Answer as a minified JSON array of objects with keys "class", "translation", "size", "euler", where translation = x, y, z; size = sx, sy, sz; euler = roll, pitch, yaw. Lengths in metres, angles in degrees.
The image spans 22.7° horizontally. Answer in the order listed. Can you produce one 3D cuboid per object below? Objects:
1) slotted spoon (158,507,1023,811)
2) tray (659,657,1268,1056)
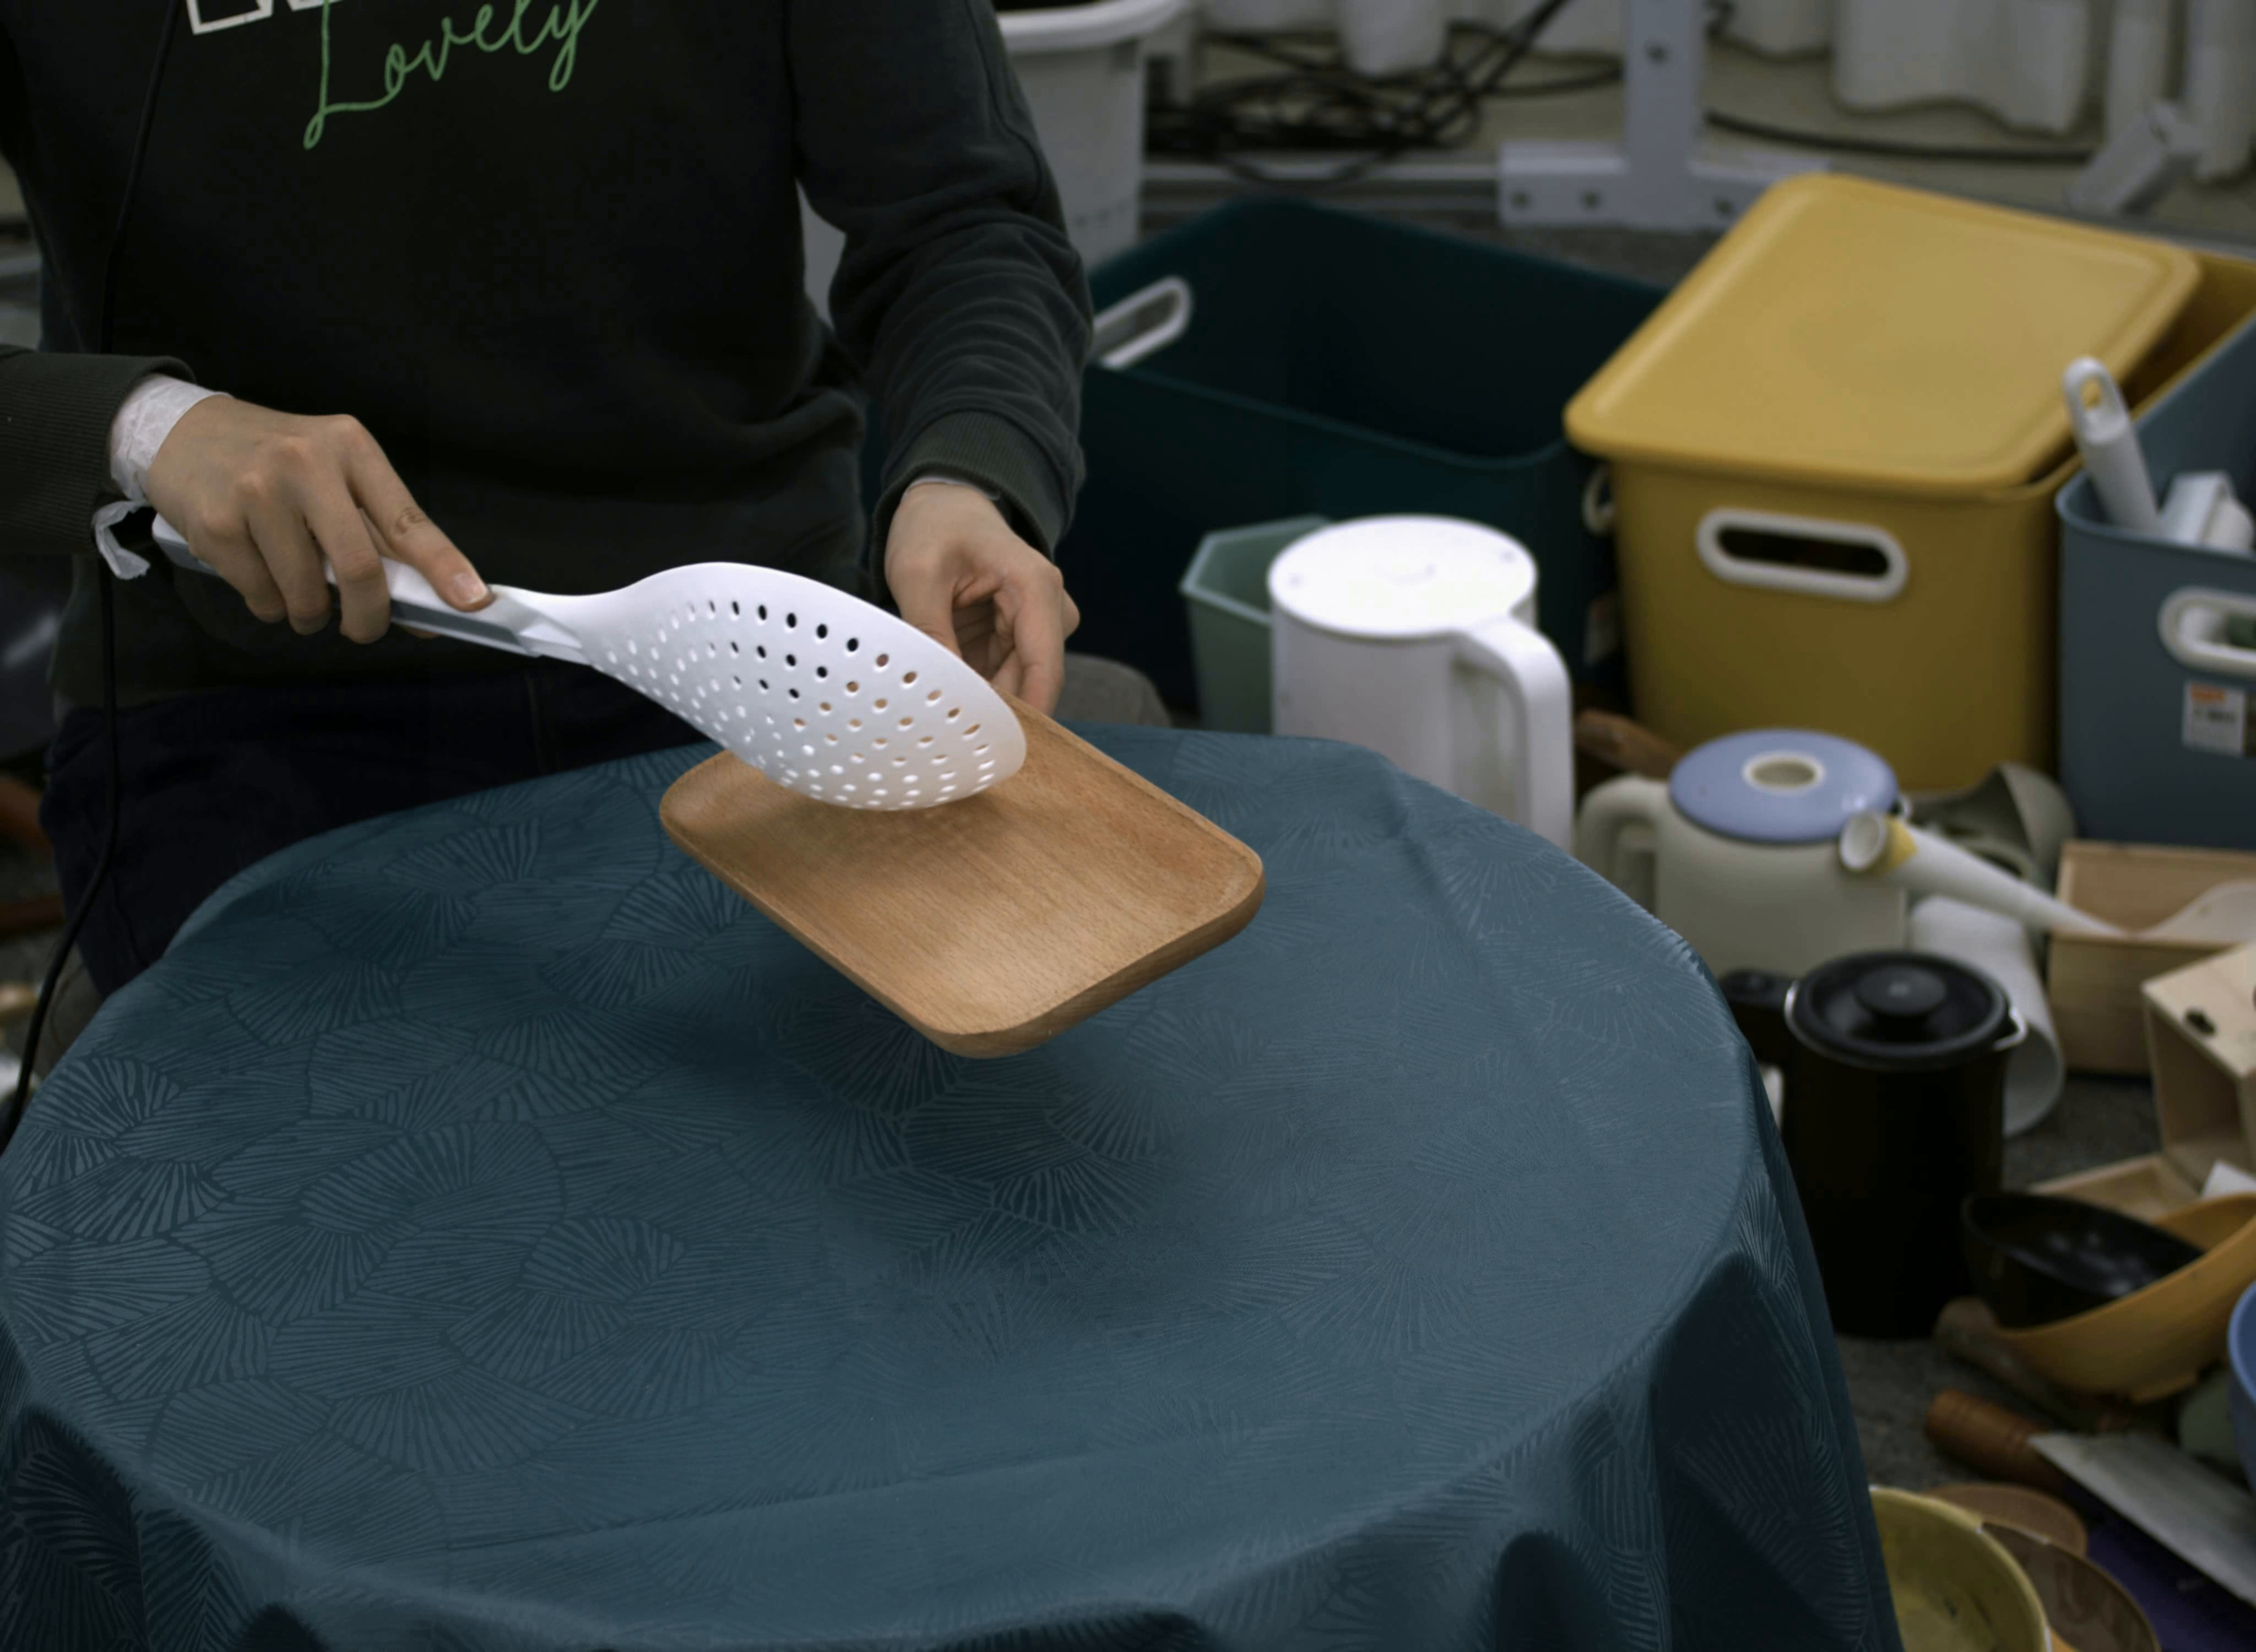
[{"class":"slotted spoon","translation":[-0.193,-0.067,1.936],"size":[0.348,0.134,0.046],"euler":[18,65,29]},{"class":"tray","translation":[-0.058,0.008,1.898],"size":[0.131,0.022,0.251],"euler":[-26,29,-20]}]
